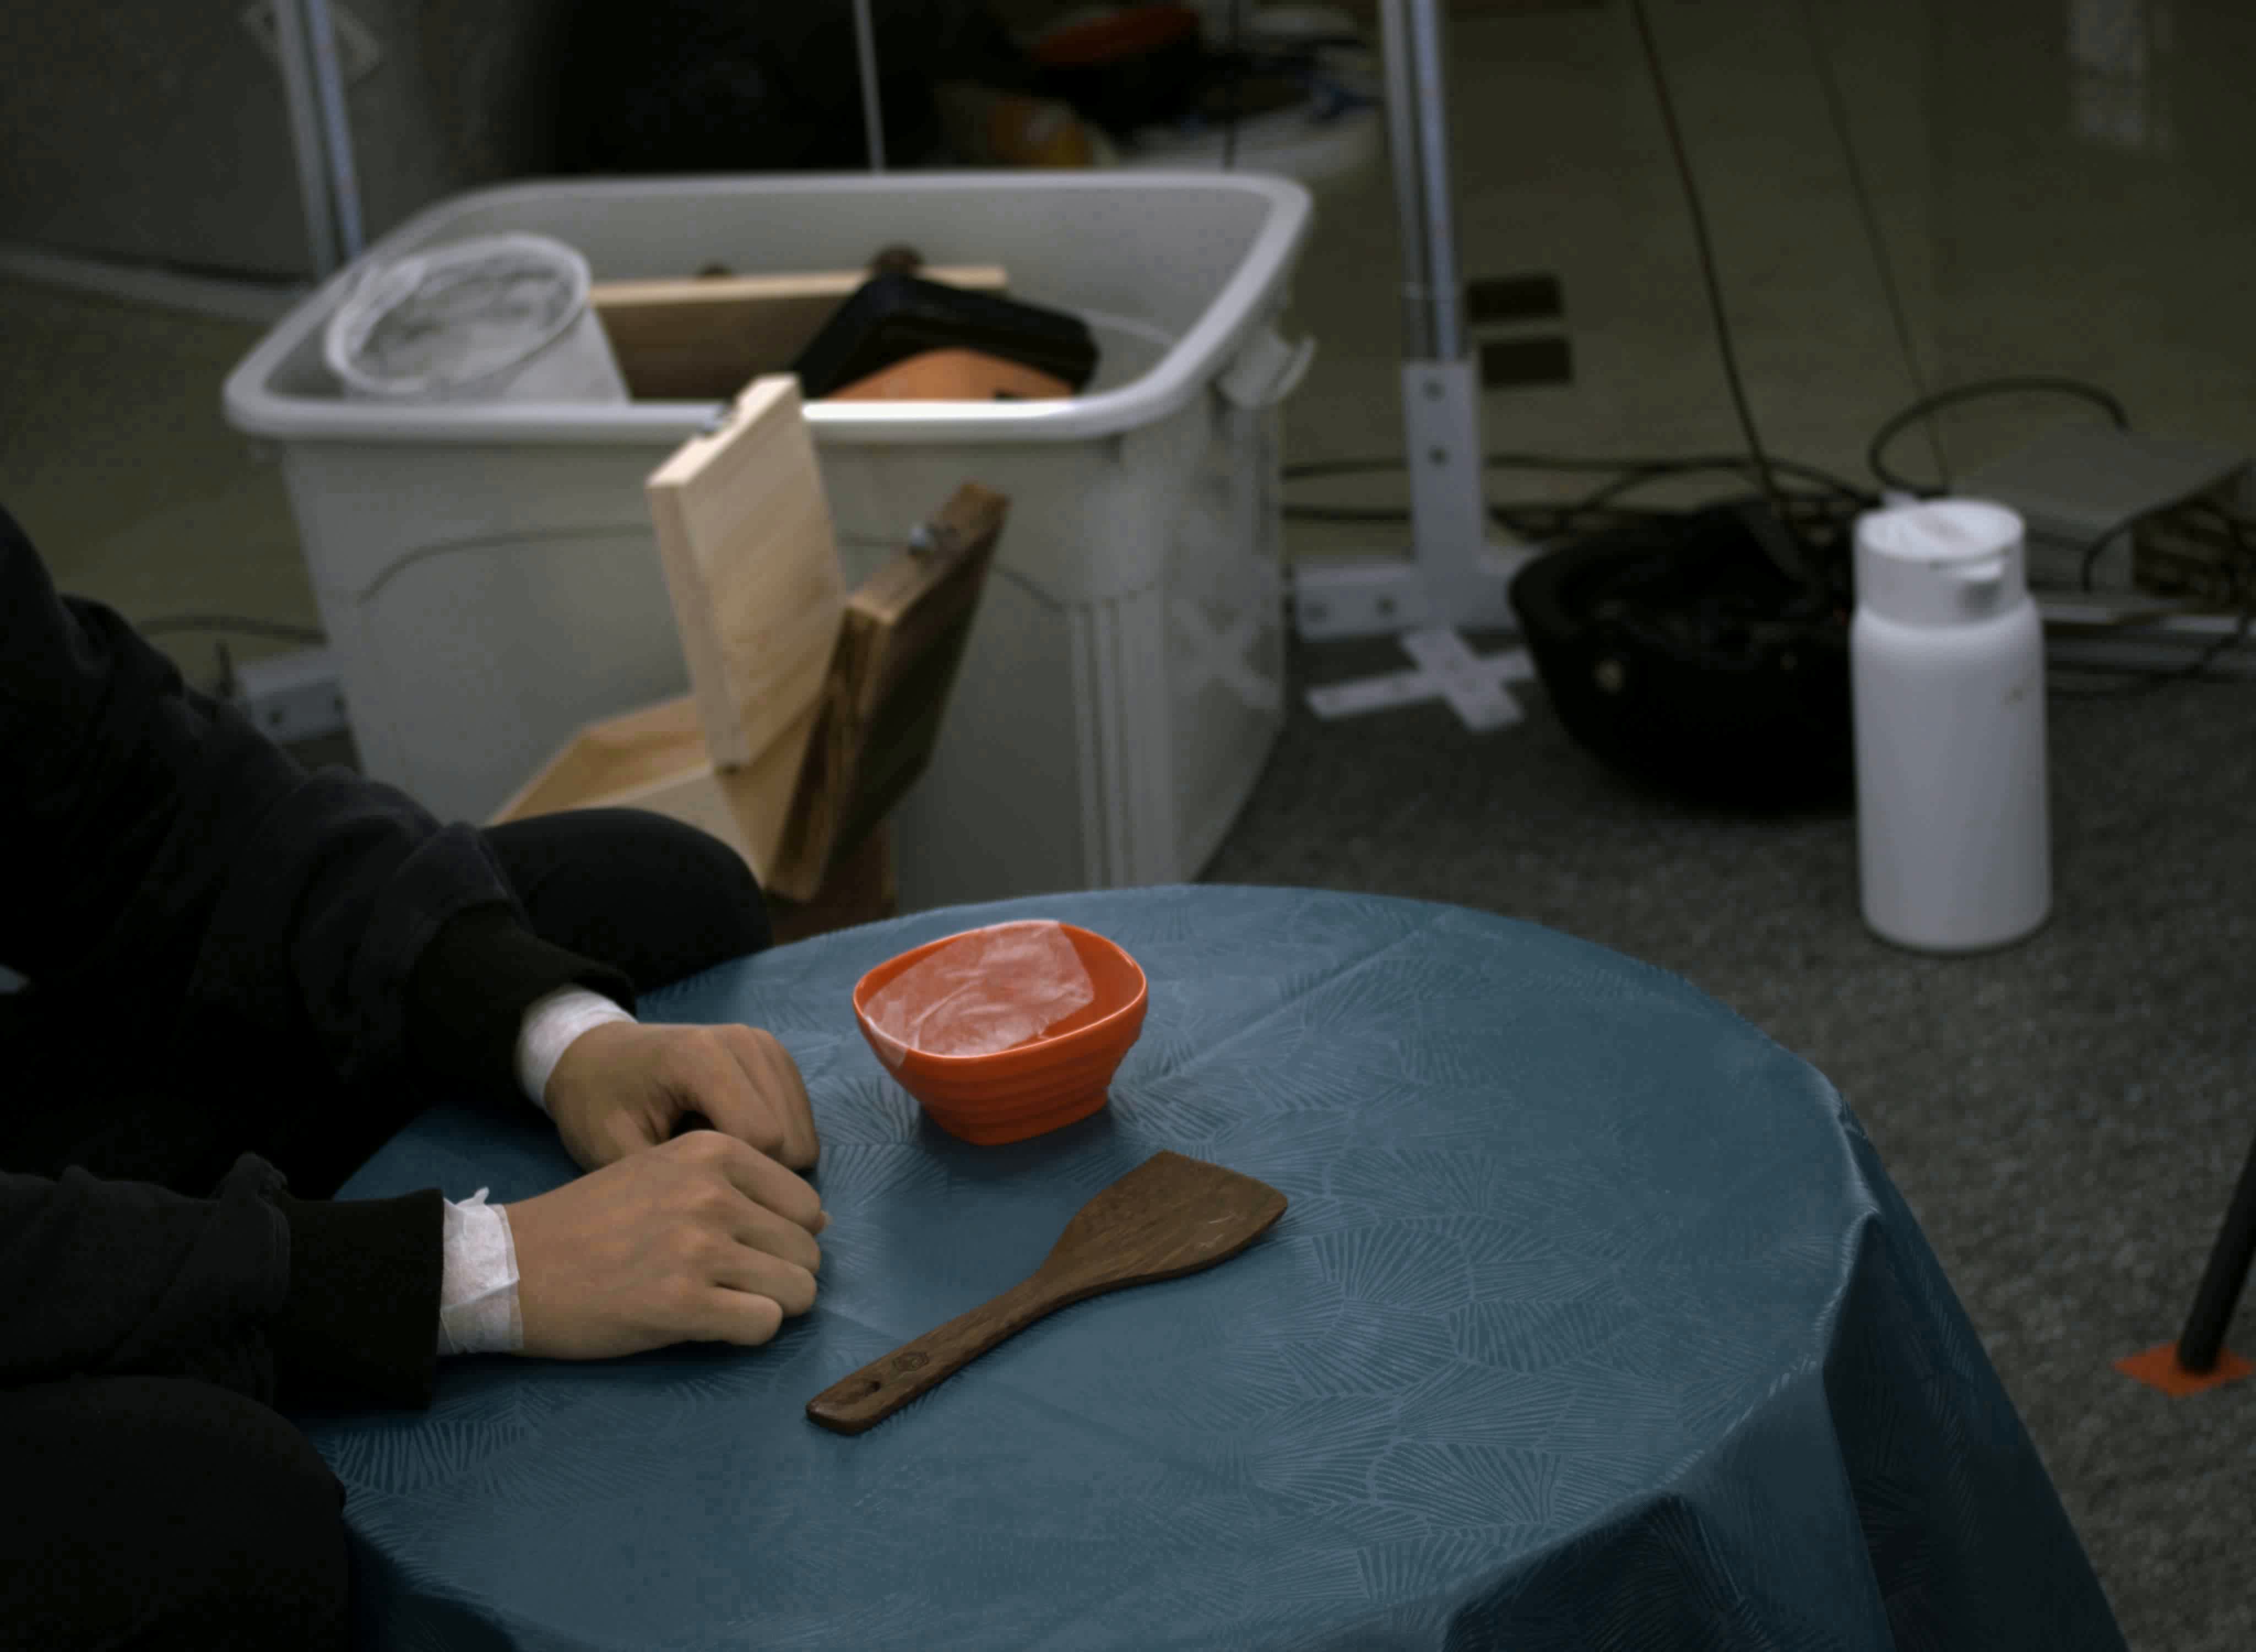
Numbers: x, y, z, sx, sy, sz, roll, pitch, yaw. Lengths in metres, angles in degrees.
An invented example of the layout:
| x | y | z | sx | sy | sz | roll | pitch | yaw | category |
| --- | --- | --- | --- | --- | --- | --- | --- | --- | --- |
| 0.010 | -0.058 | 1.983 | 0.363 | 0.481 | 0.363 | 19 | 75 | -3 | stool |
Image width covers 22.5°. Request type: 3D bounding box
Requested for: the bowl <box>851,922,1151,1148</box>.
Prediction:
| x | y | z | sx | sy | sz | roll | pitch | yaw | category |
| --- | --- | --- | --- | --- | --- | --- | --- | --- | --- |
| -0.048 | 0.086 | 2.218 | 0.119 | 0.052 | 0.117 | -3 | 26 | 2 | bowl |

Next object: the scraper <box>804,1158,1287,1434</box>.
| x | y | z | sx | sy | sz | roll | pitch | yaw | category |
| --- | --- | --- | --- | --- | --- | --- | --- | --- | --- |
| -0.035 | 0.174 | 2.078 | 0.209 | 0.011 | 0.075 | -27 | 31 | -36 | scraper |
